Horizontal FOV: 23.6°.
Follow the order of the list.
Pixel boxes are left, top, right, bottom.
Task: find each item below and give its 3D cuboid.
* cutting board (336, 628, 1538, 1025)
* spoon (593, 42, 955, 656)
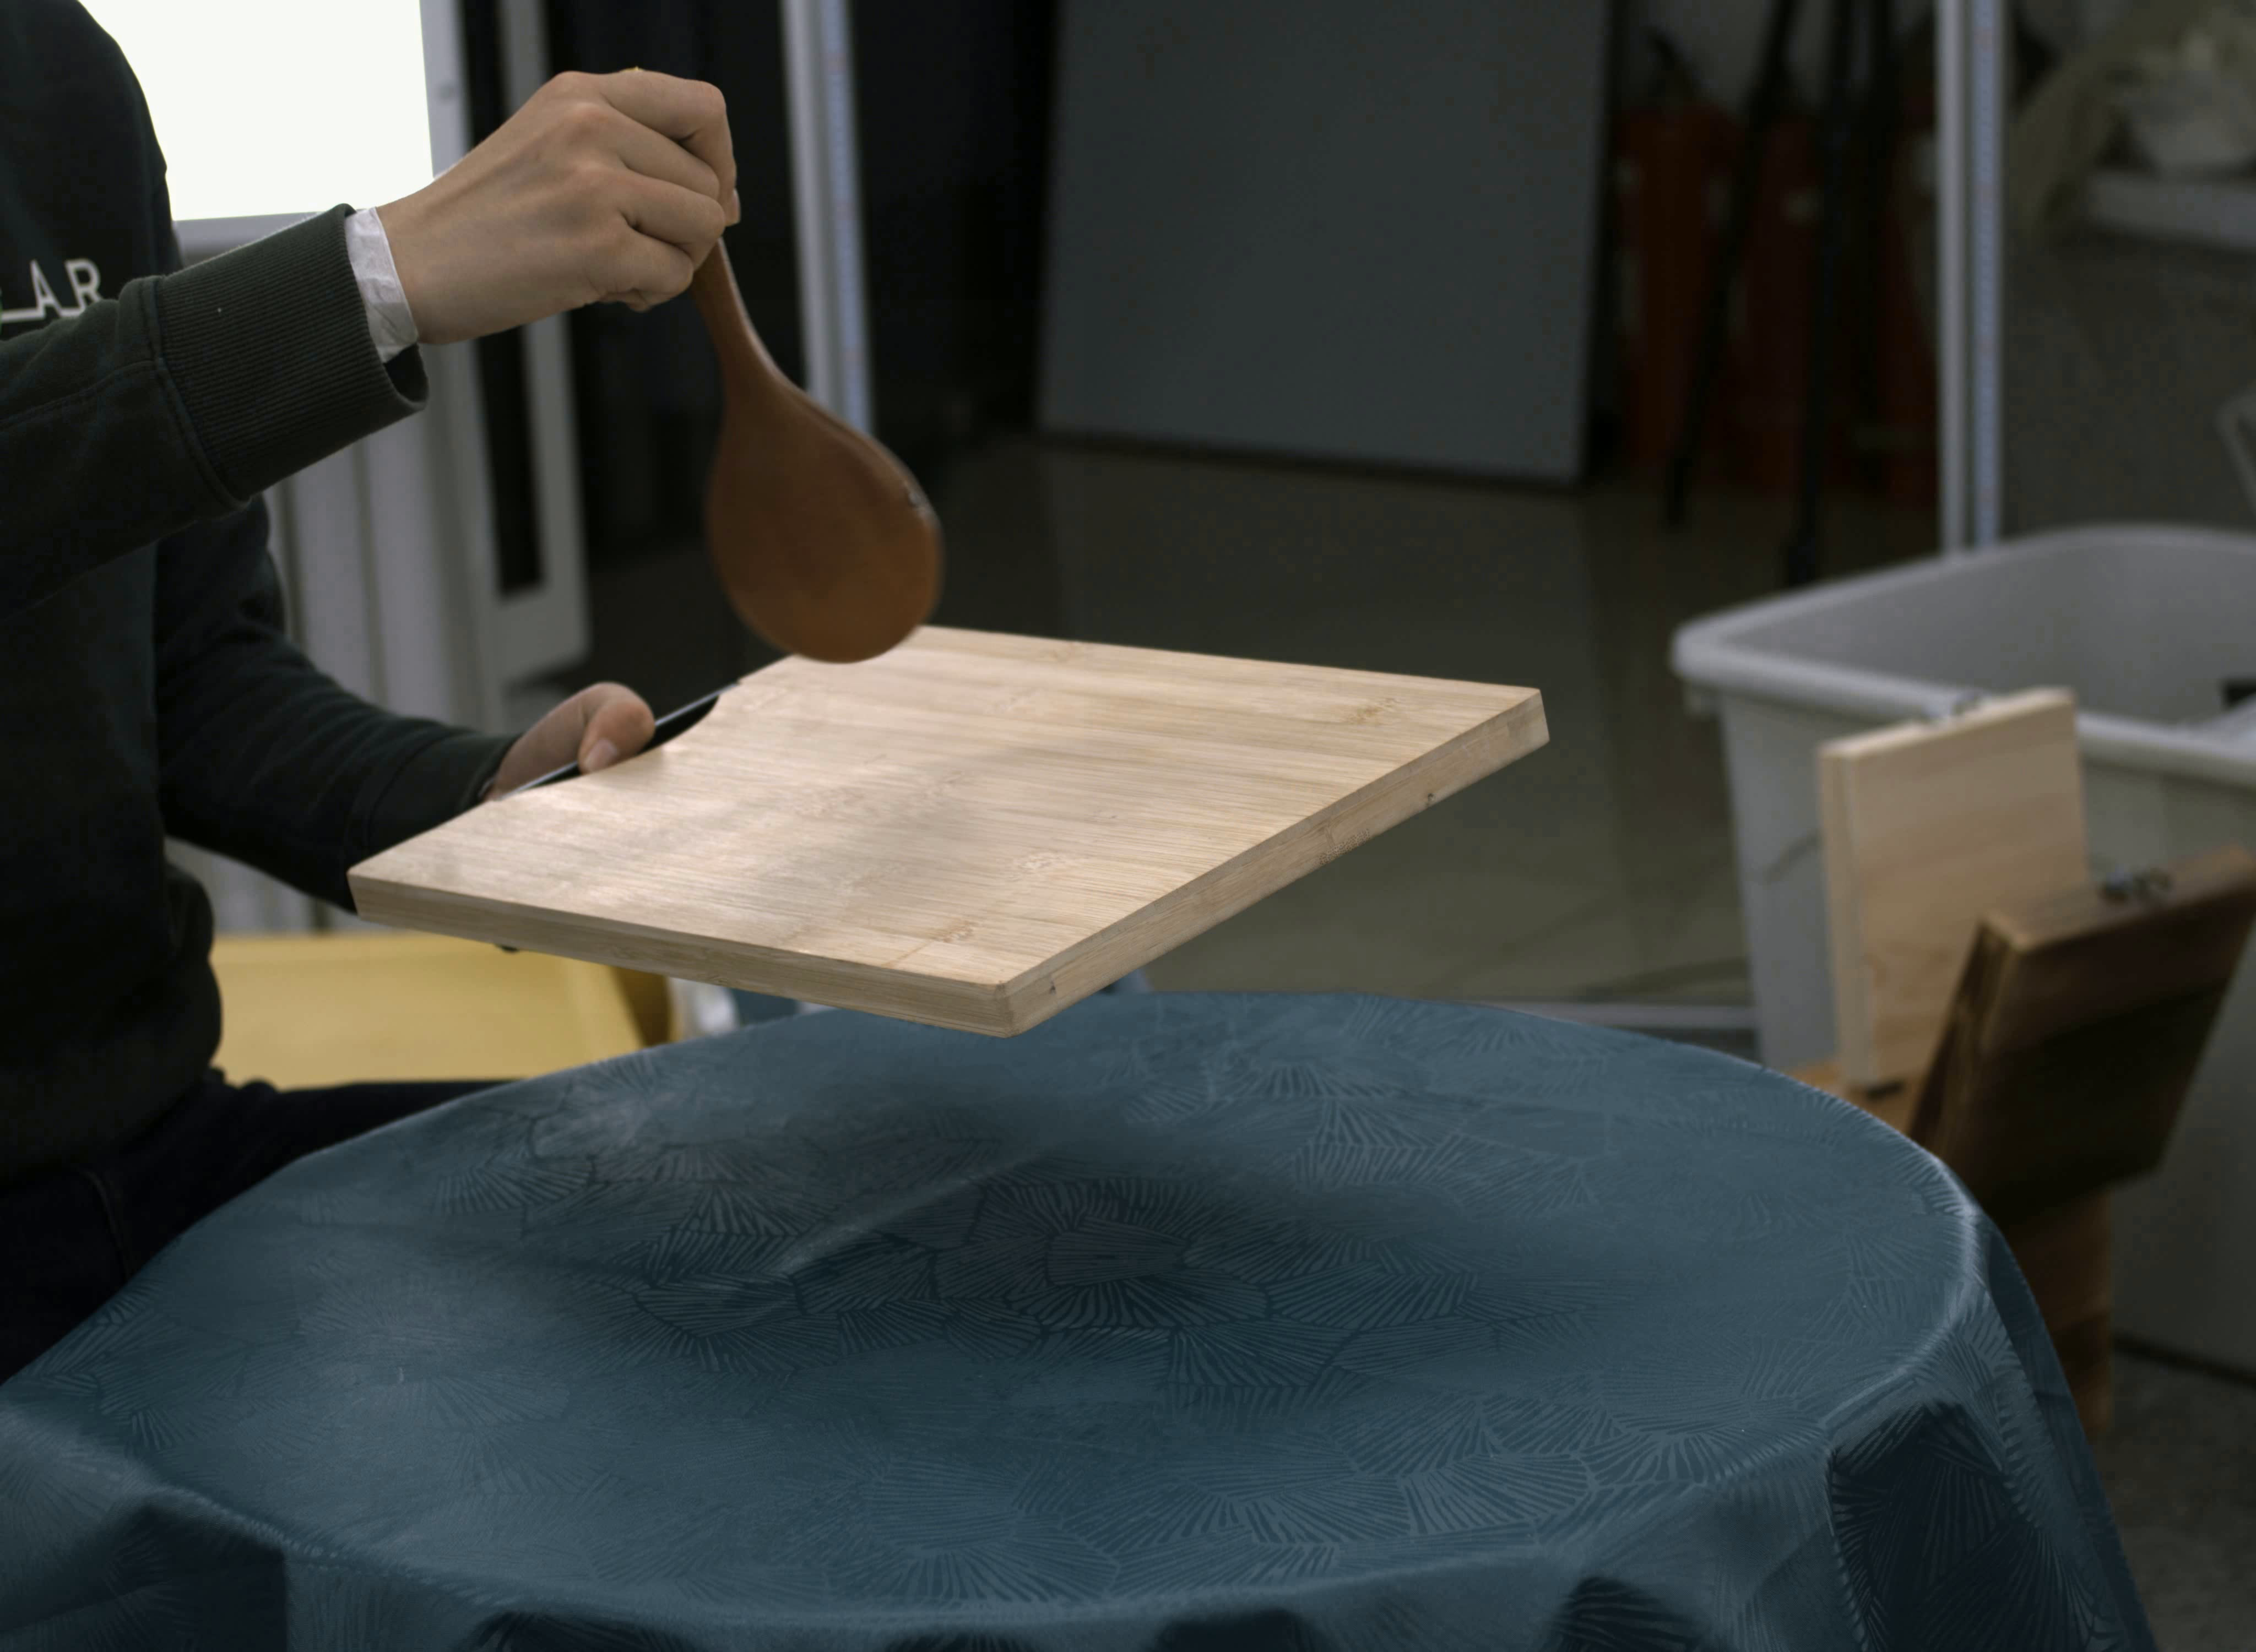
[{"bbox_3d":[-0.067,-0.007,1.755,0.246,0.024,0.352,-28,22,-37],"label":"cutting board"},{"bbox_3d":[-0.117,-0.146,1.705,0.075,0.216,0.017,-15,24,18],"label":"spoon"}]
